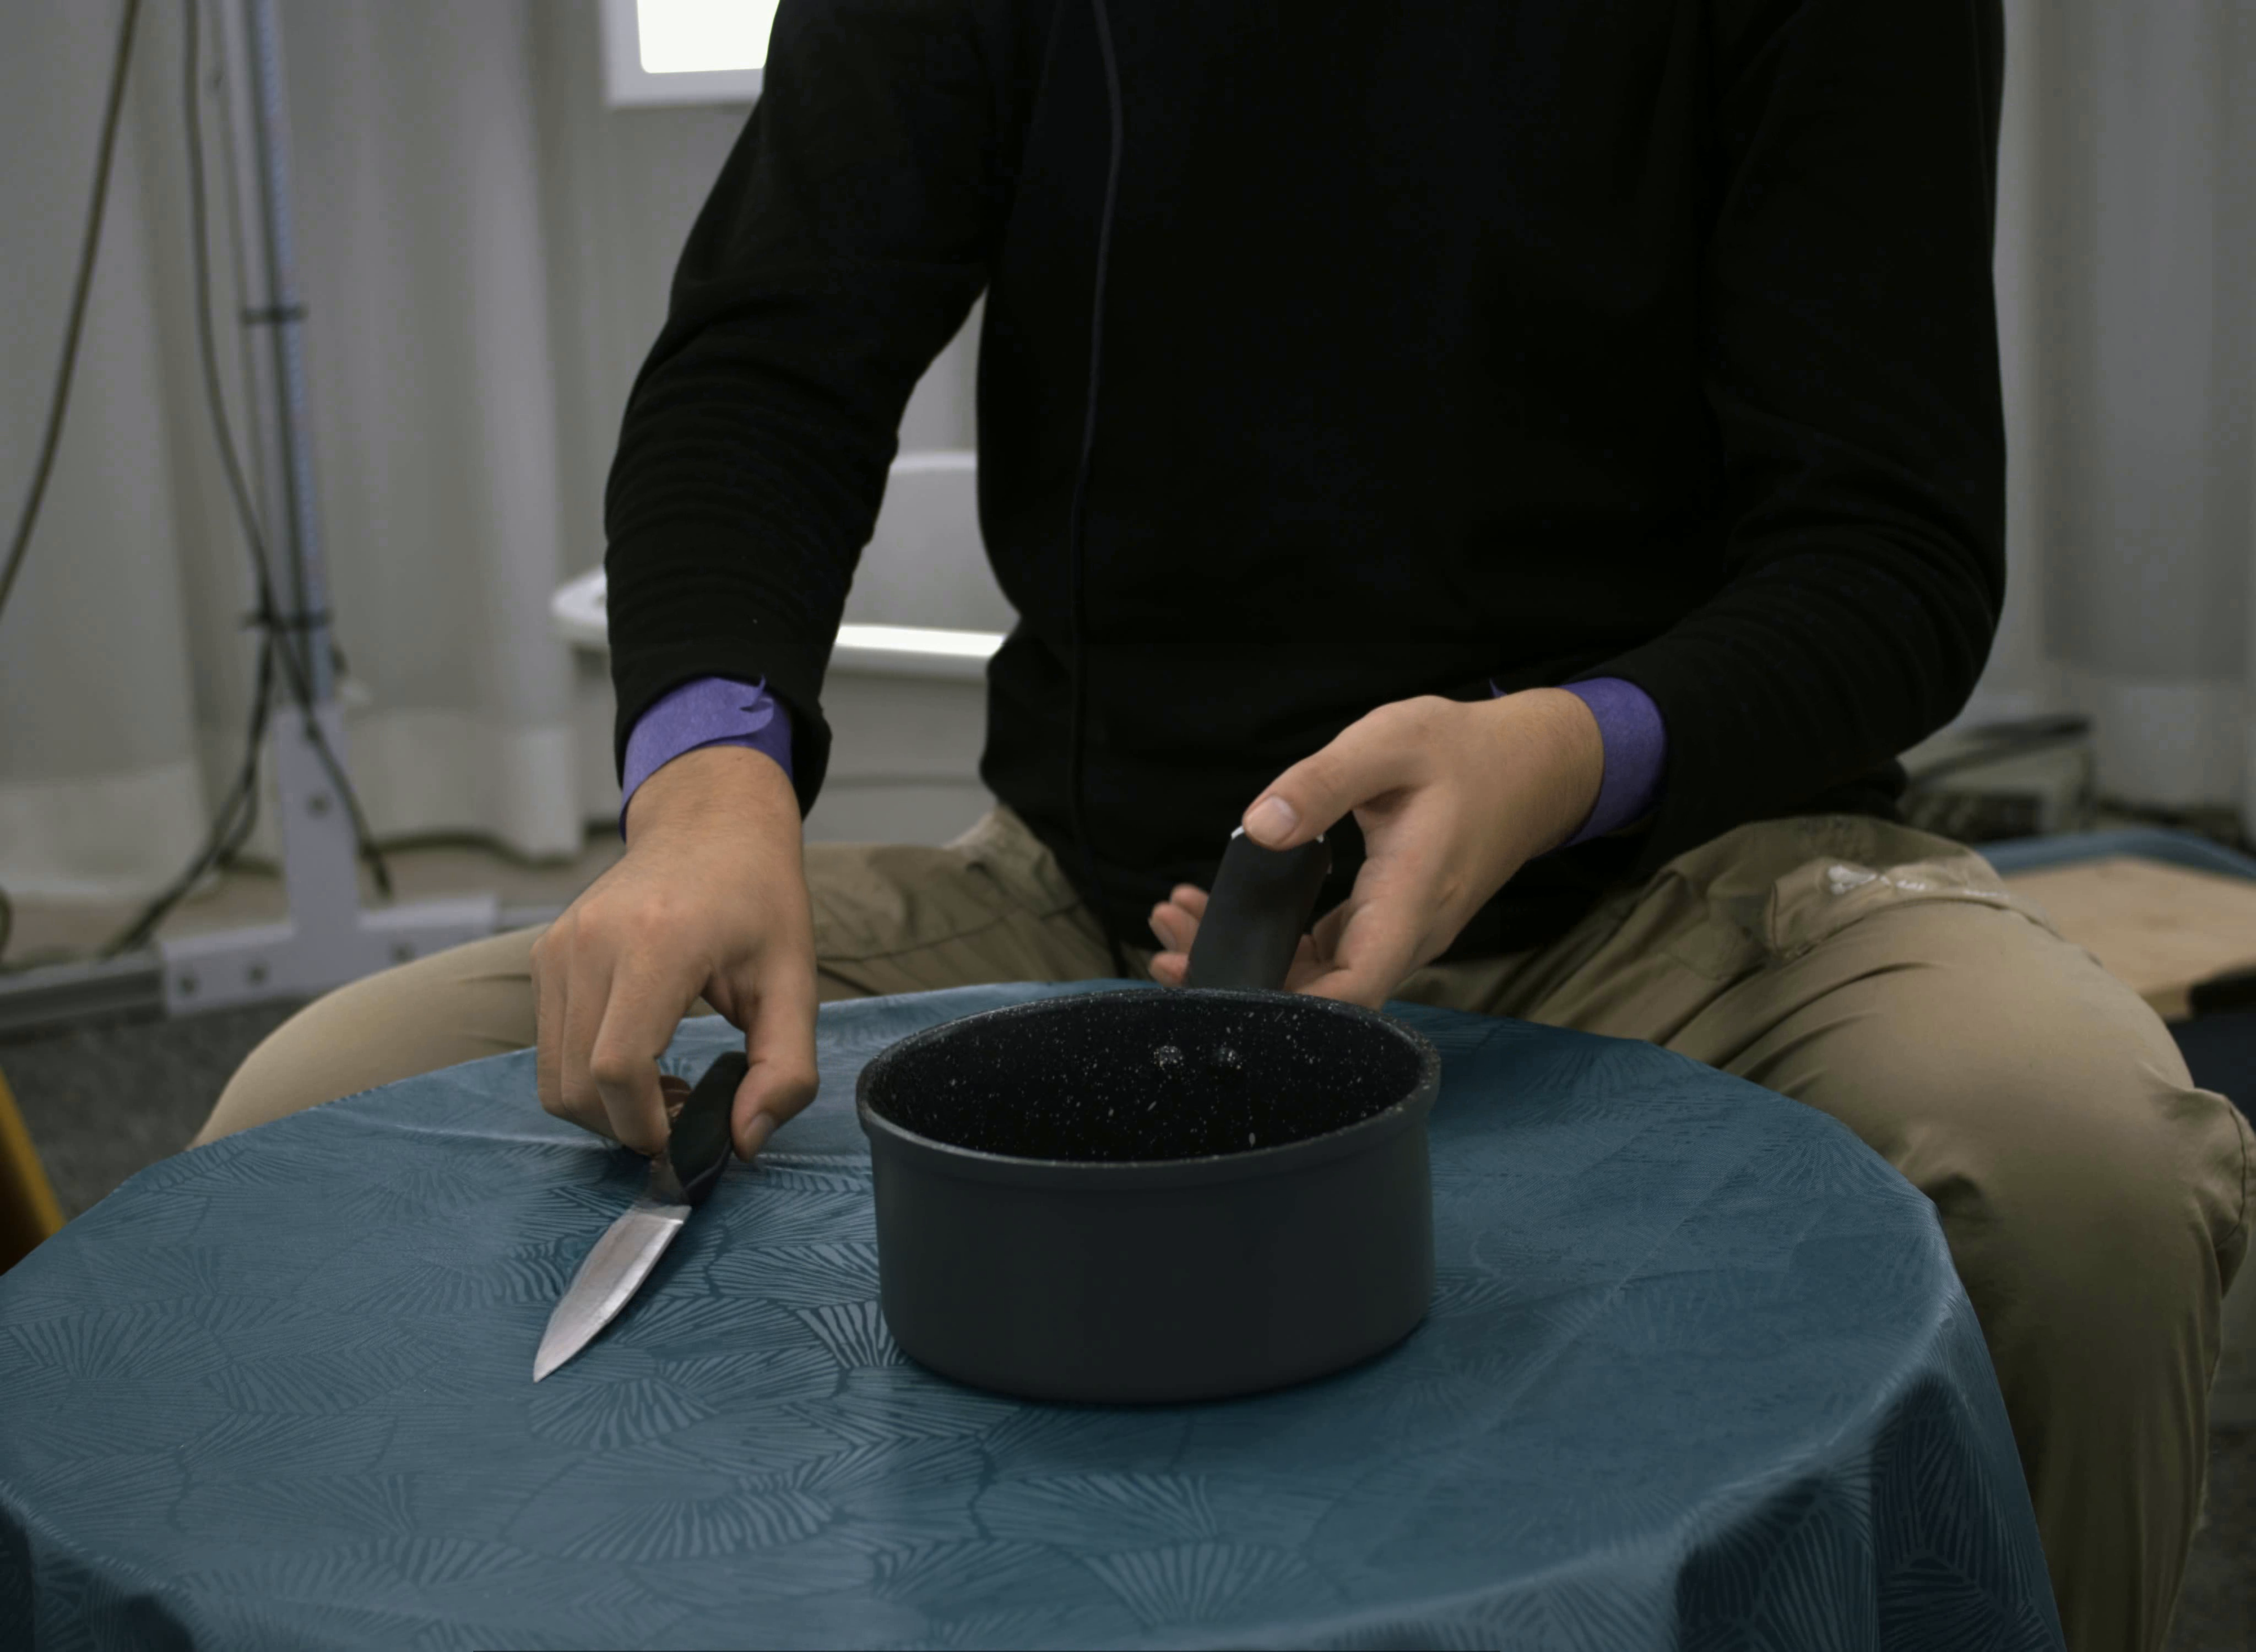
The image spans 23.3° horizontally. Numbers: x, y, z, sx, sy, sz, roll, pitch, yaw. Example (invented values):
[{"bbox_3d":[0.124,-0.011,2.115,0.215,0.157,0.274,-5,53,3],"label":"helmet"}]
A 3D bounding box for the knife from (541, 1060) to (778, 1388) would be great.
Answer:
[{"bbox_3d":[-0.147,0.122,1.684,0.024,0.016,0.240,2,20,11],"label":"knife"}]

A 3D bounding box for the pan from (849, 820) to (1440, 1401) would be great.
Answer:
[{"bbox_3d":[0.025,0.083,1.668,0.172,0.086,0.330,1,16,14],"label":"pan"}]
